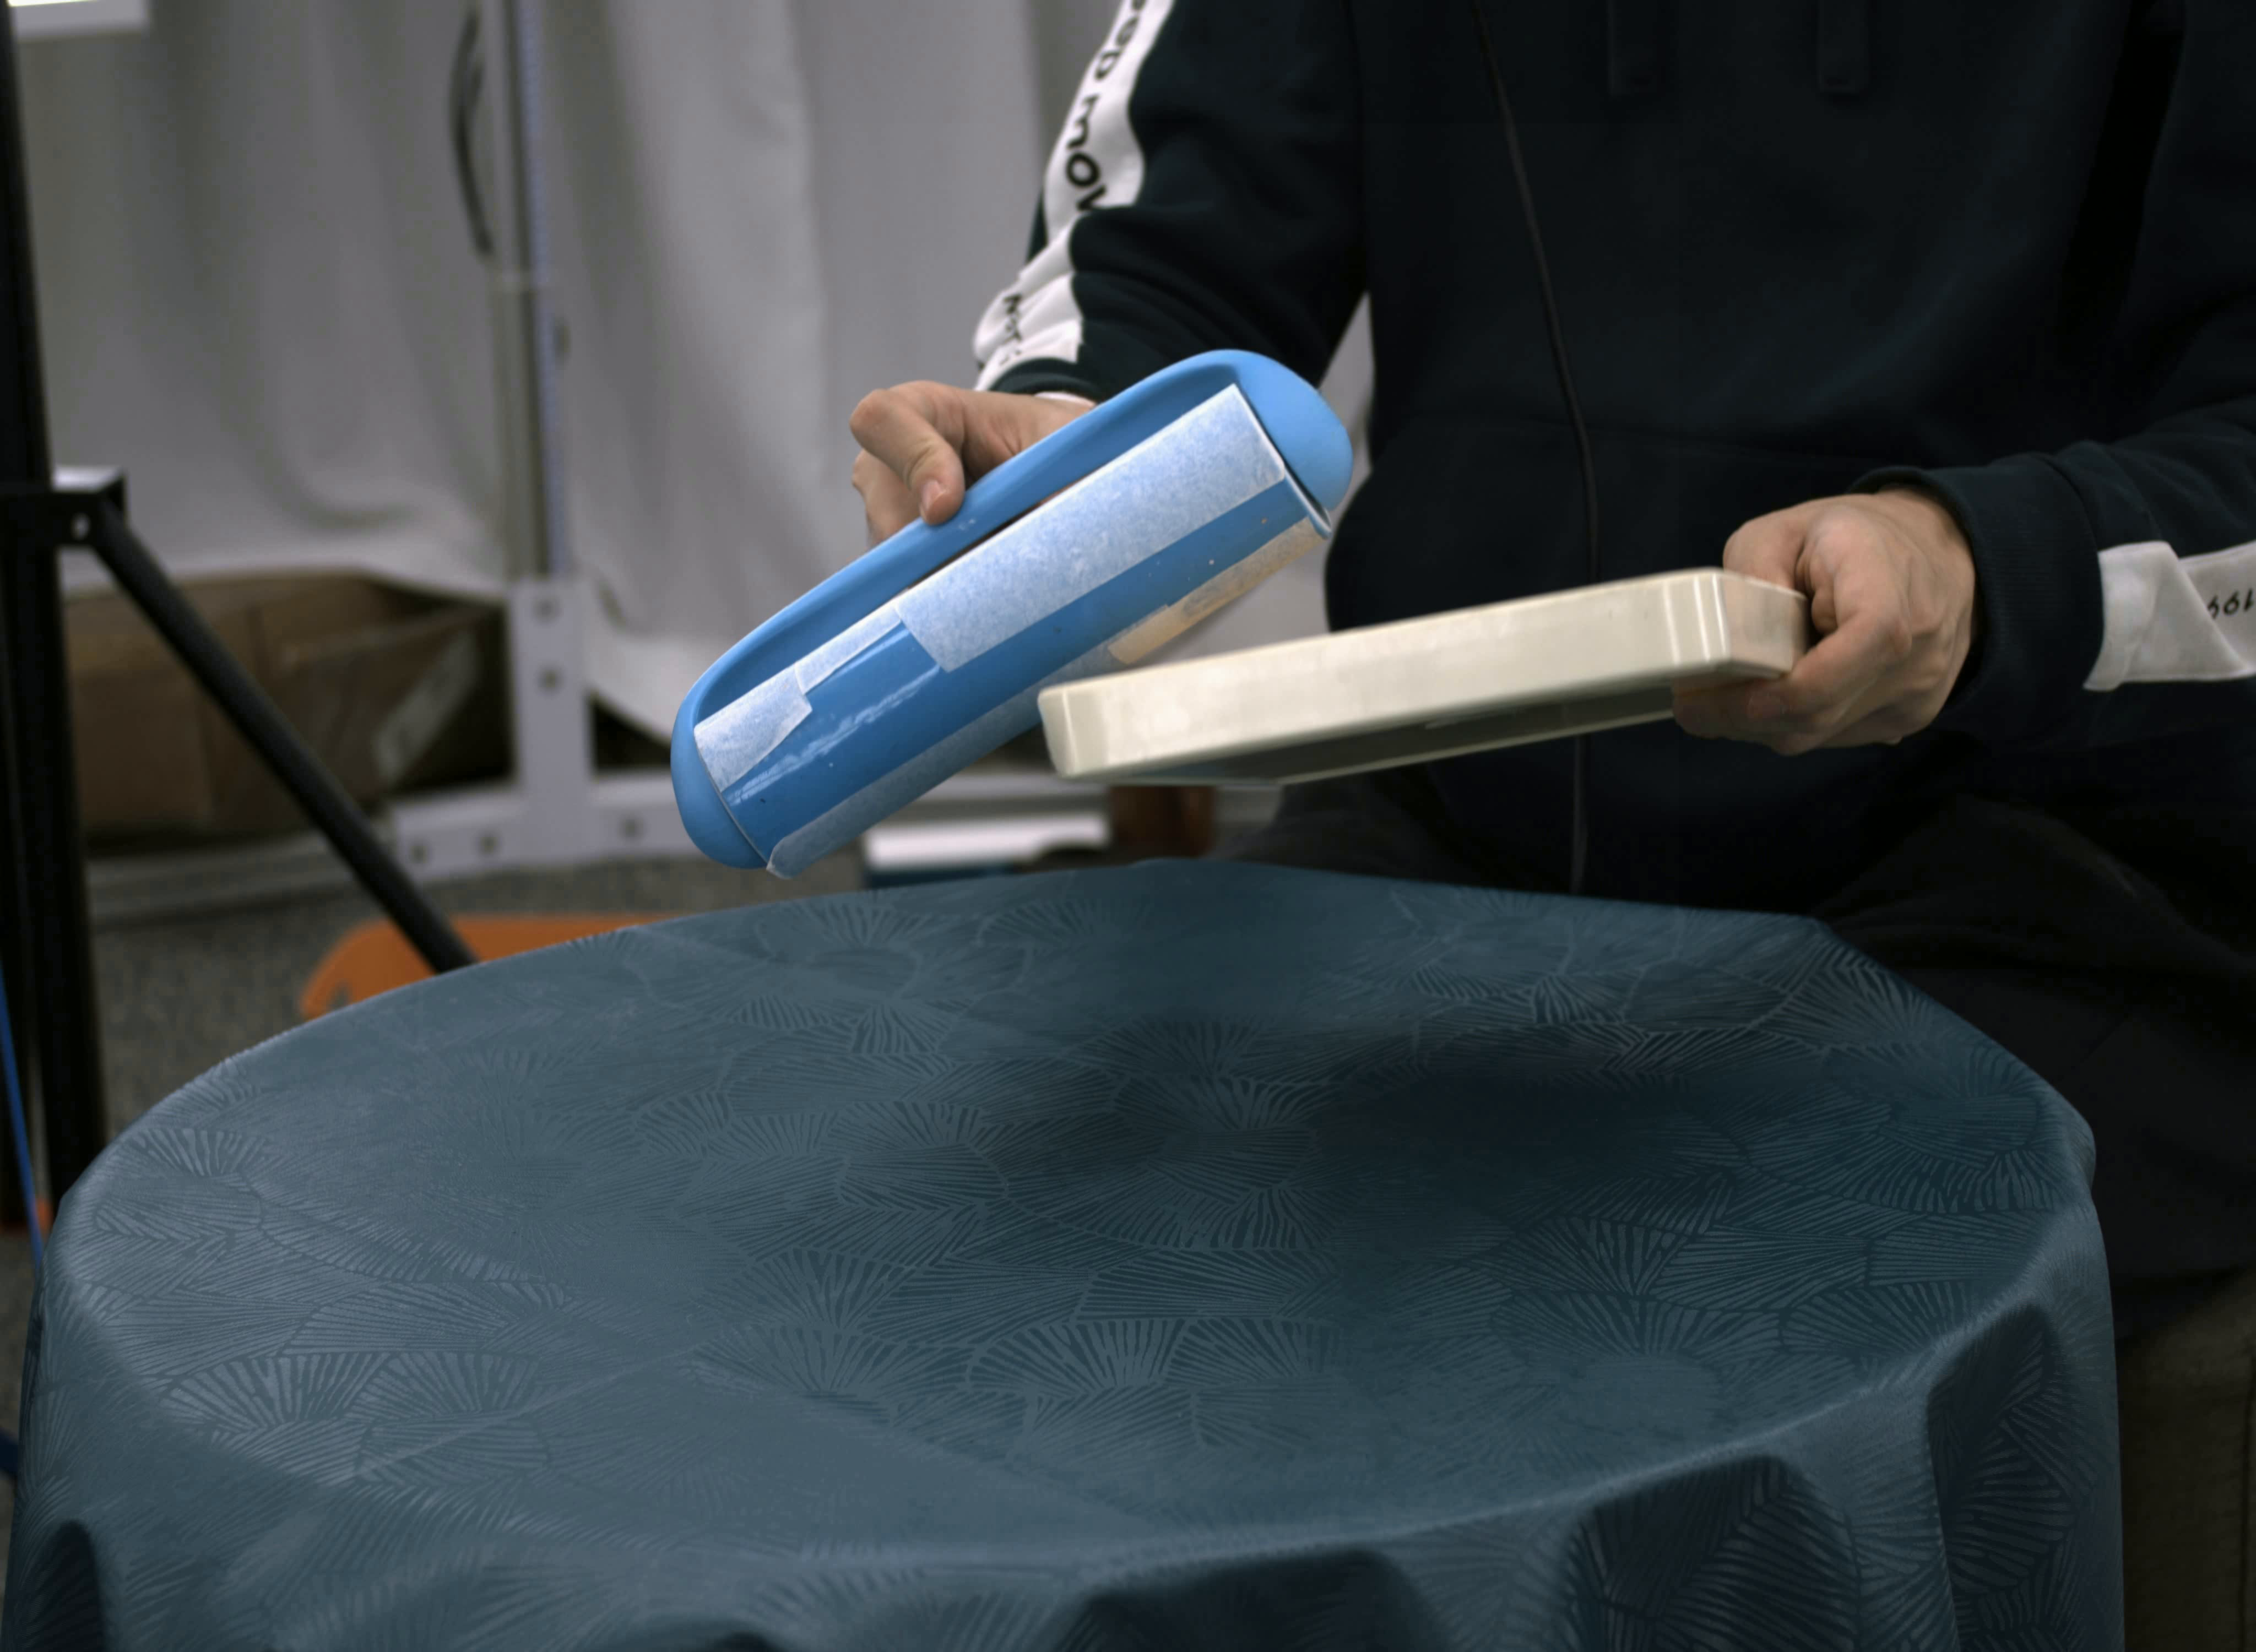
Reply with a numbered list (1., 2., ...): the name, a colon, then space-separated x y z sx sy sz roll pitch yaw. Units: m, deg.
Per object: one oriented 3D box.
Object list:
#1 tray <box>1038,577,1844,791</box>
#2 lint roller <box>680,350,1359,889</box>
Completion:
1. tray: 0.099 -0.038 1.542 0.193 0.027 0.296 -10 -2 15
2. lint roller: -0.036 -0.071 1.619 0.229 0.067 0.181 -35 14 6
